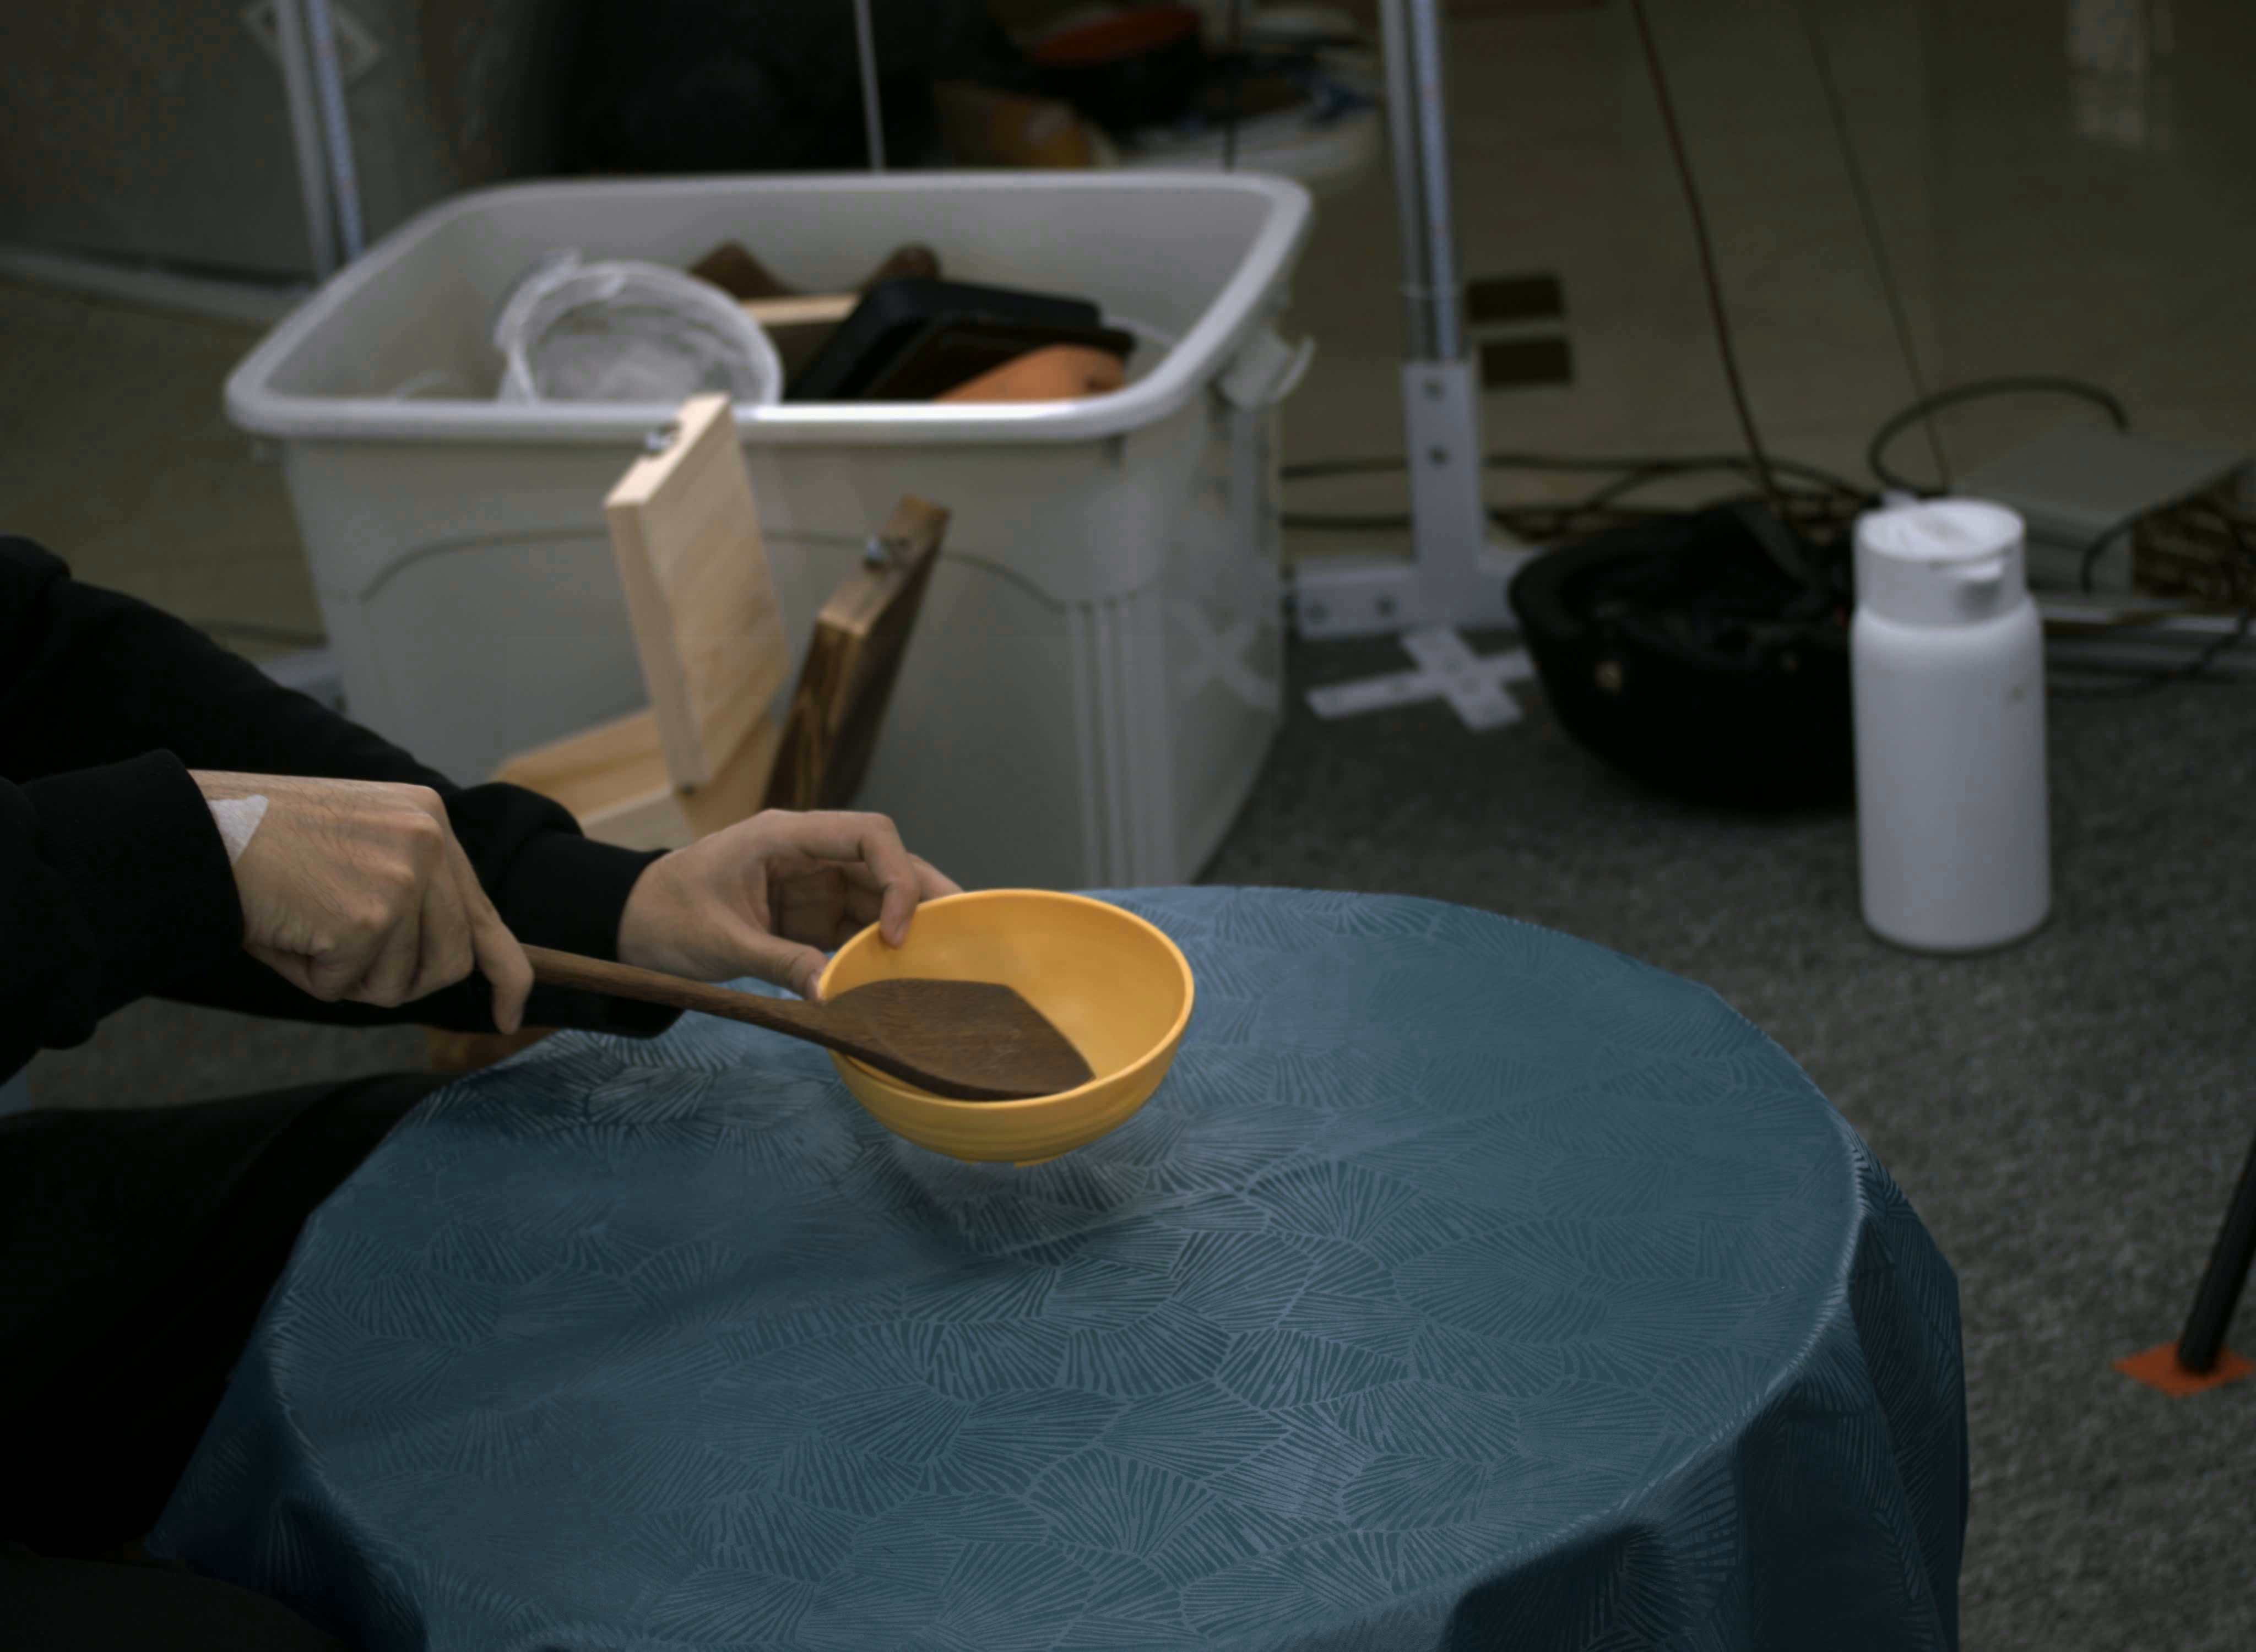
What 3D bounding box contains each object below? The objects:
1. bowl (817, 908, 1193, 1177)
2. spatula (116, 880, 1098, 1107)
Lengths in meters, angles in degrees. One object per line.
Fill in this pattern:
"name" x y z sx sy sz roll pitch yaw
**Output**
"bowl" -0.045 0.091 2.160 0.145 0.061 0.143 -3 30 2
"spatula" -0.183 0.057 2.057 0.387 0.016 0.095 11 21 -30
